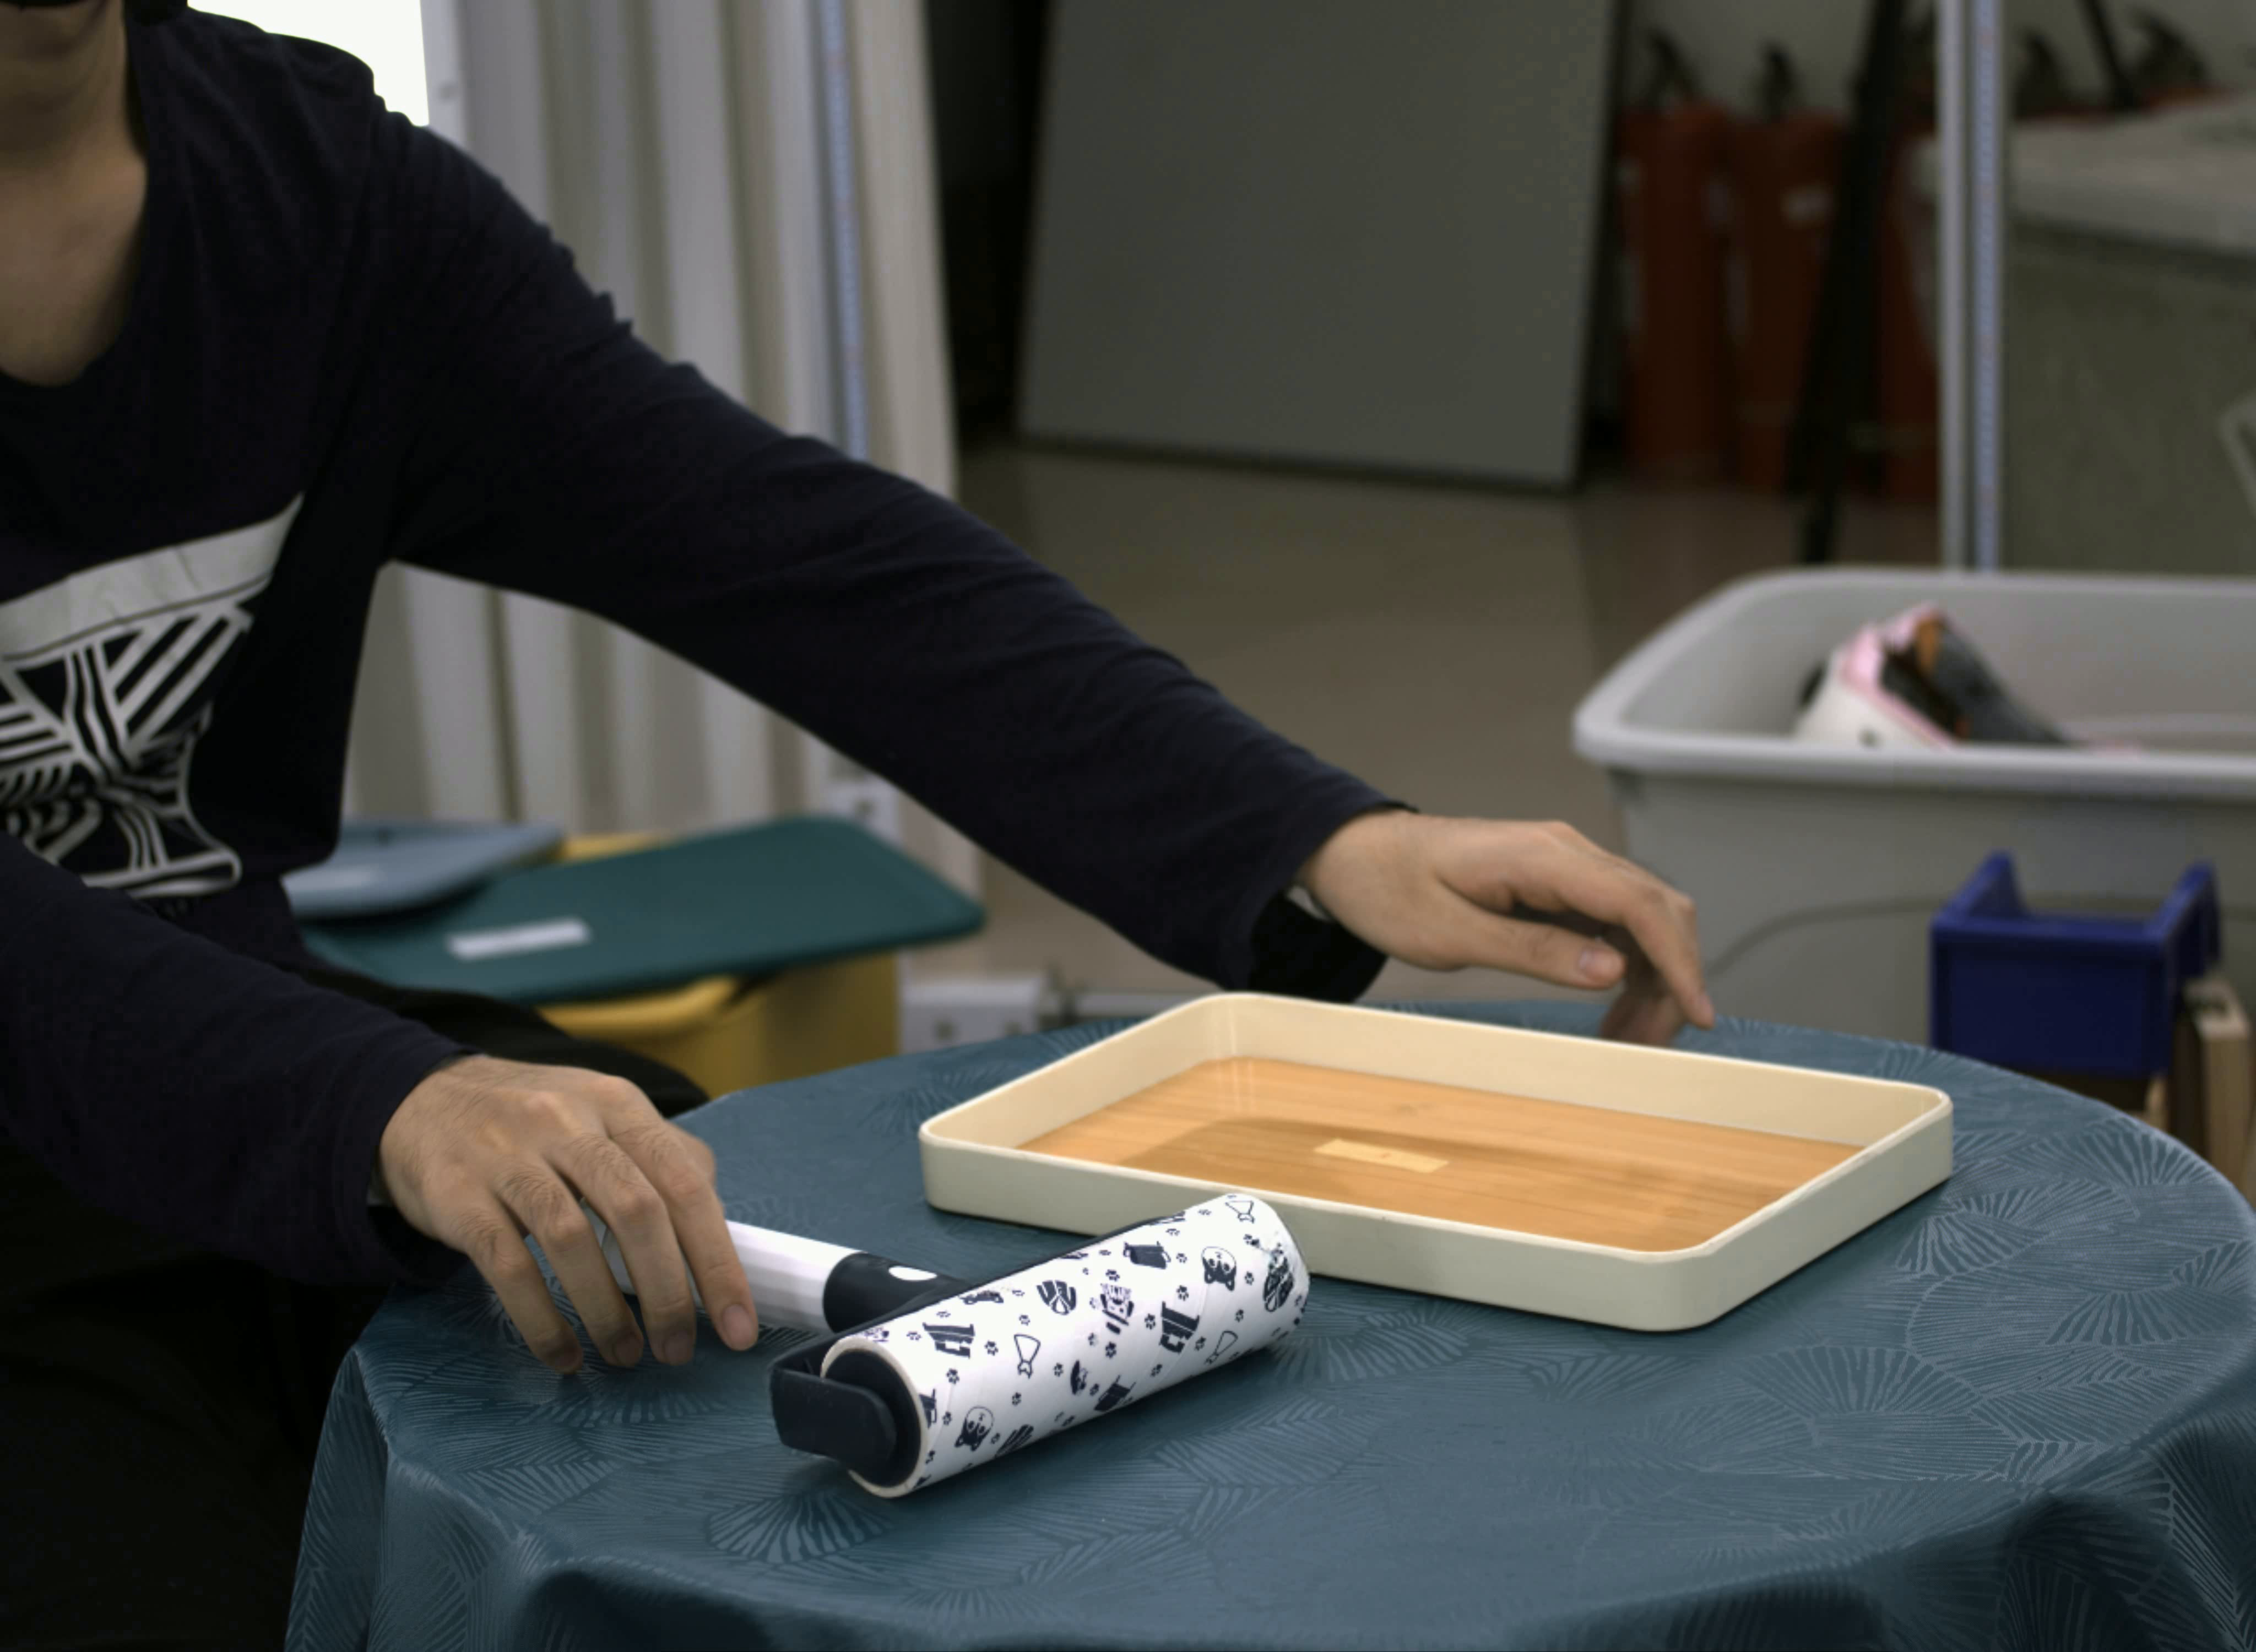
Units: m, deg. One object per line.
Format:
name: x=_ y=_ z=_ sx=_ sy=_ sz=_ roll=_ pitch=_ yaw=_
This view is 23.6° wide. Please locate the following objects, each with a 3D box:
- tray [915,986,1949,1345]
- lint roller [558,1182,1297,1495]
tray: x=0.098 y=0.106 z=1.749 sx=0.302 sy=0.028 sz=0.188 roll=7 pitch=19 yaw=37
lint roller: x=-0.091 y=0.140 z=1.634 sx=0.249 sy=0.051 sz=0.173 roll=6 pitch=18 yaw=44
